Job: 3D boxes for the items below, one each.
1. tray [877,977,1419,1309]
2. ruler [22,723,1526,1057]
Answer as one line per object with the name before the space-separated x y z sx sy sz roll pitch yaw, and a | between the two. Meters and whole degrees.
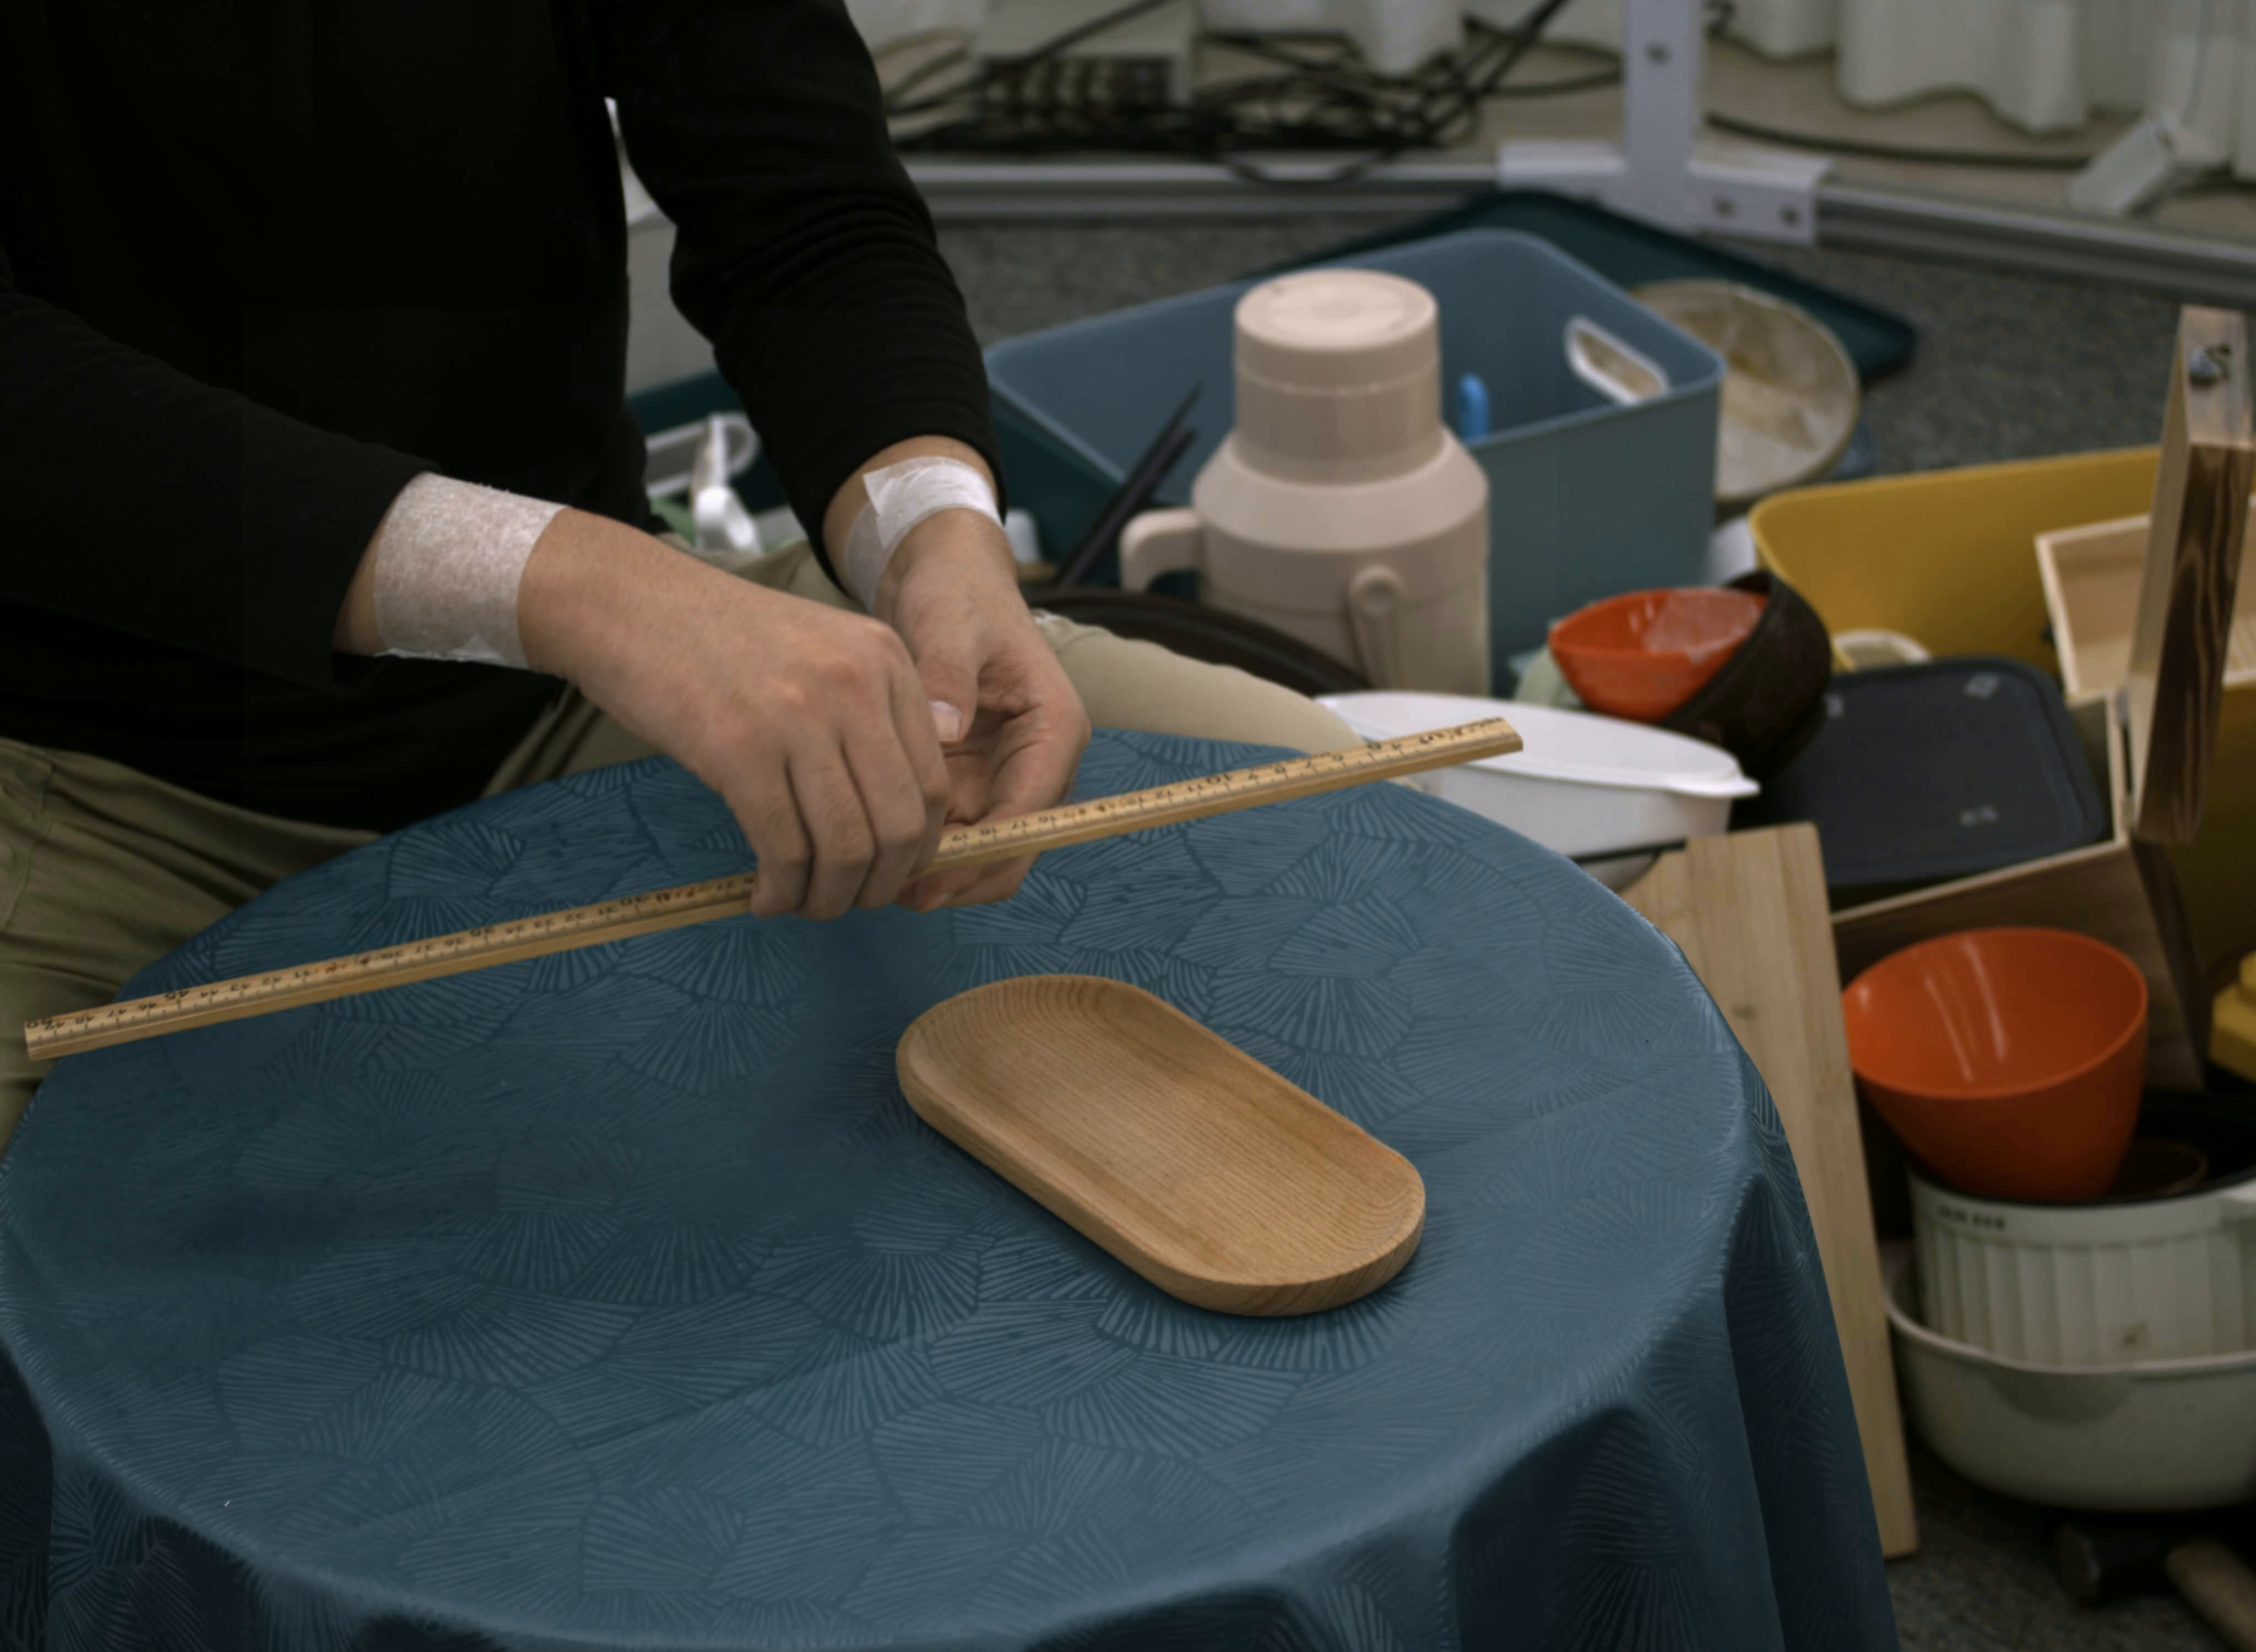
tray | 0.005 0.104 1.876 0.102 0.020 0.231 -21 31 -32
ruler | -0.112 0.019 1.838 0.500 0.006 0.027 -12 18 -9
